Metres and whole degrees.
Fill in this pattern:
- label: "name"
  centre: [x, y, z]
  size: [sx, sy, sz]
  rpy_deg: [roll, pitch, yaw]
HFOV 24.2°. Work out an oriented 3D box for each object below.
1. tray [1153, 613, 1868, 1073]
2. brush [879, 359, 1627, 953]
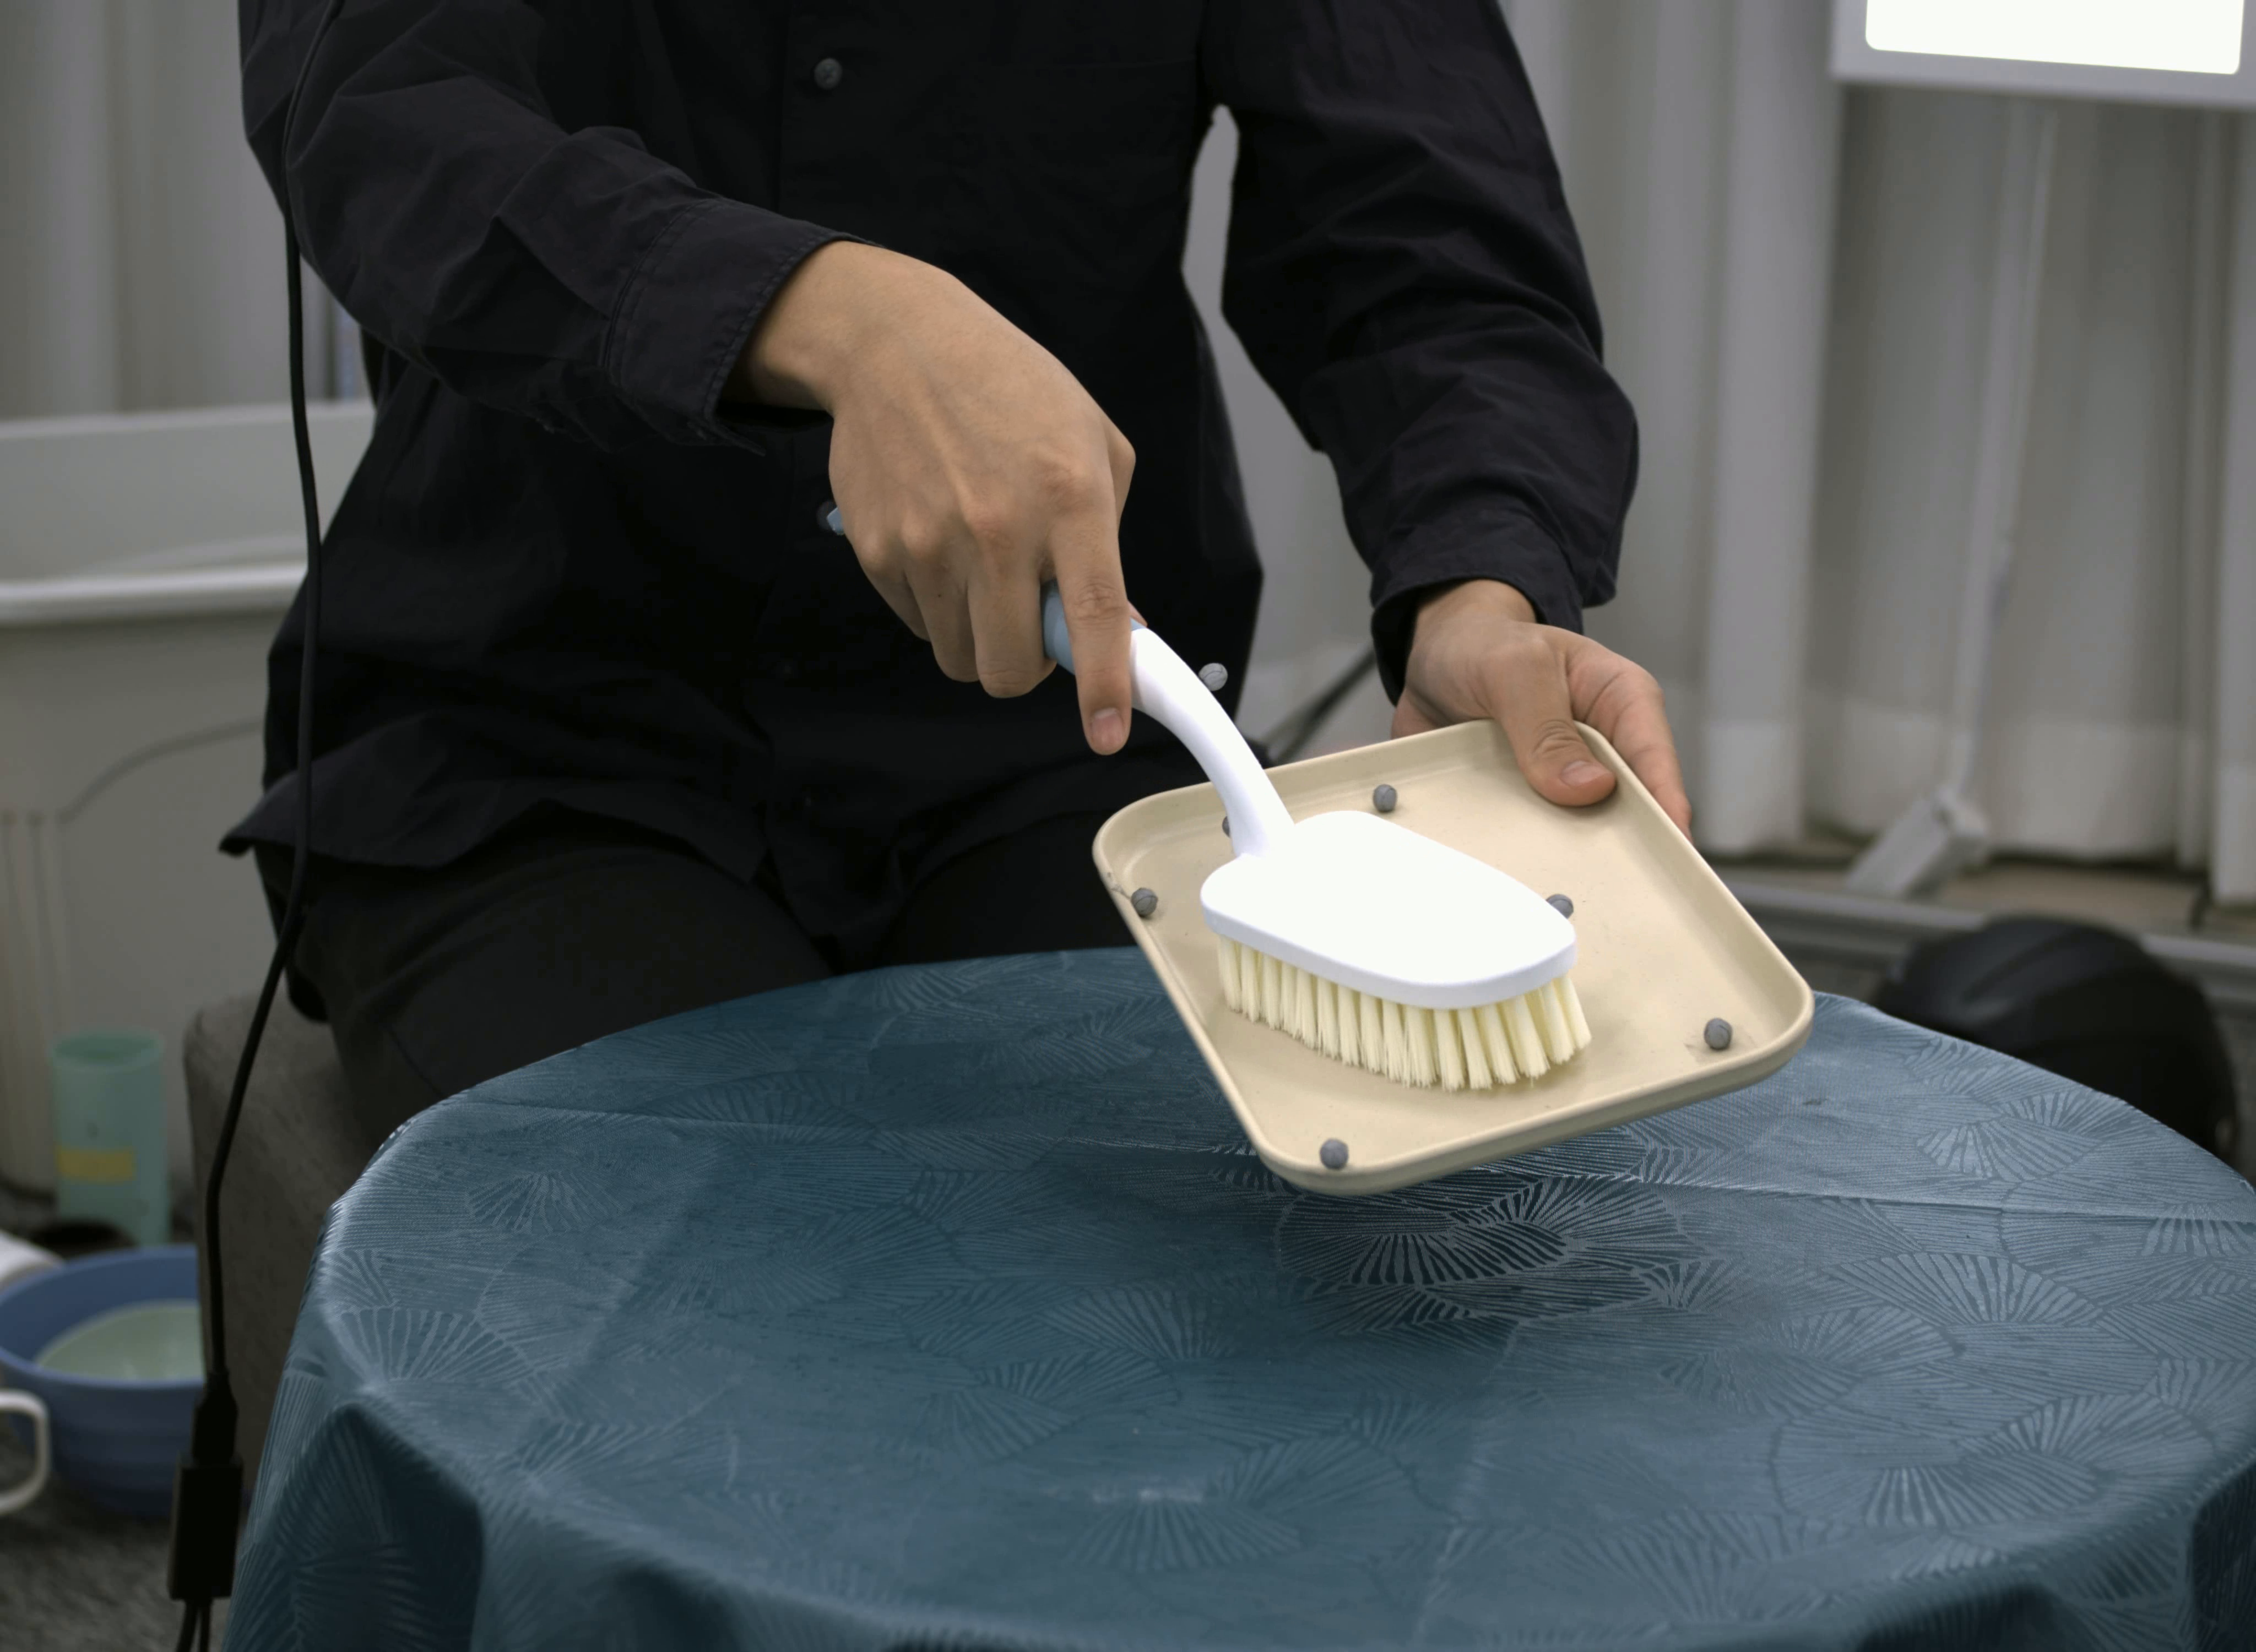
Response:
- label: "tray"
  centre: [0.113, 0.003, 1.616]
  size: [0.171, 0.018, 0.237]
  rpy_deg: [-14, 29, -10]
- label: "brush"
  centre: [0.035, -0.044, 1.643]
  size: [0.321, 0.085, 0.084]
  rpy_deg: [35, 11, 35]
